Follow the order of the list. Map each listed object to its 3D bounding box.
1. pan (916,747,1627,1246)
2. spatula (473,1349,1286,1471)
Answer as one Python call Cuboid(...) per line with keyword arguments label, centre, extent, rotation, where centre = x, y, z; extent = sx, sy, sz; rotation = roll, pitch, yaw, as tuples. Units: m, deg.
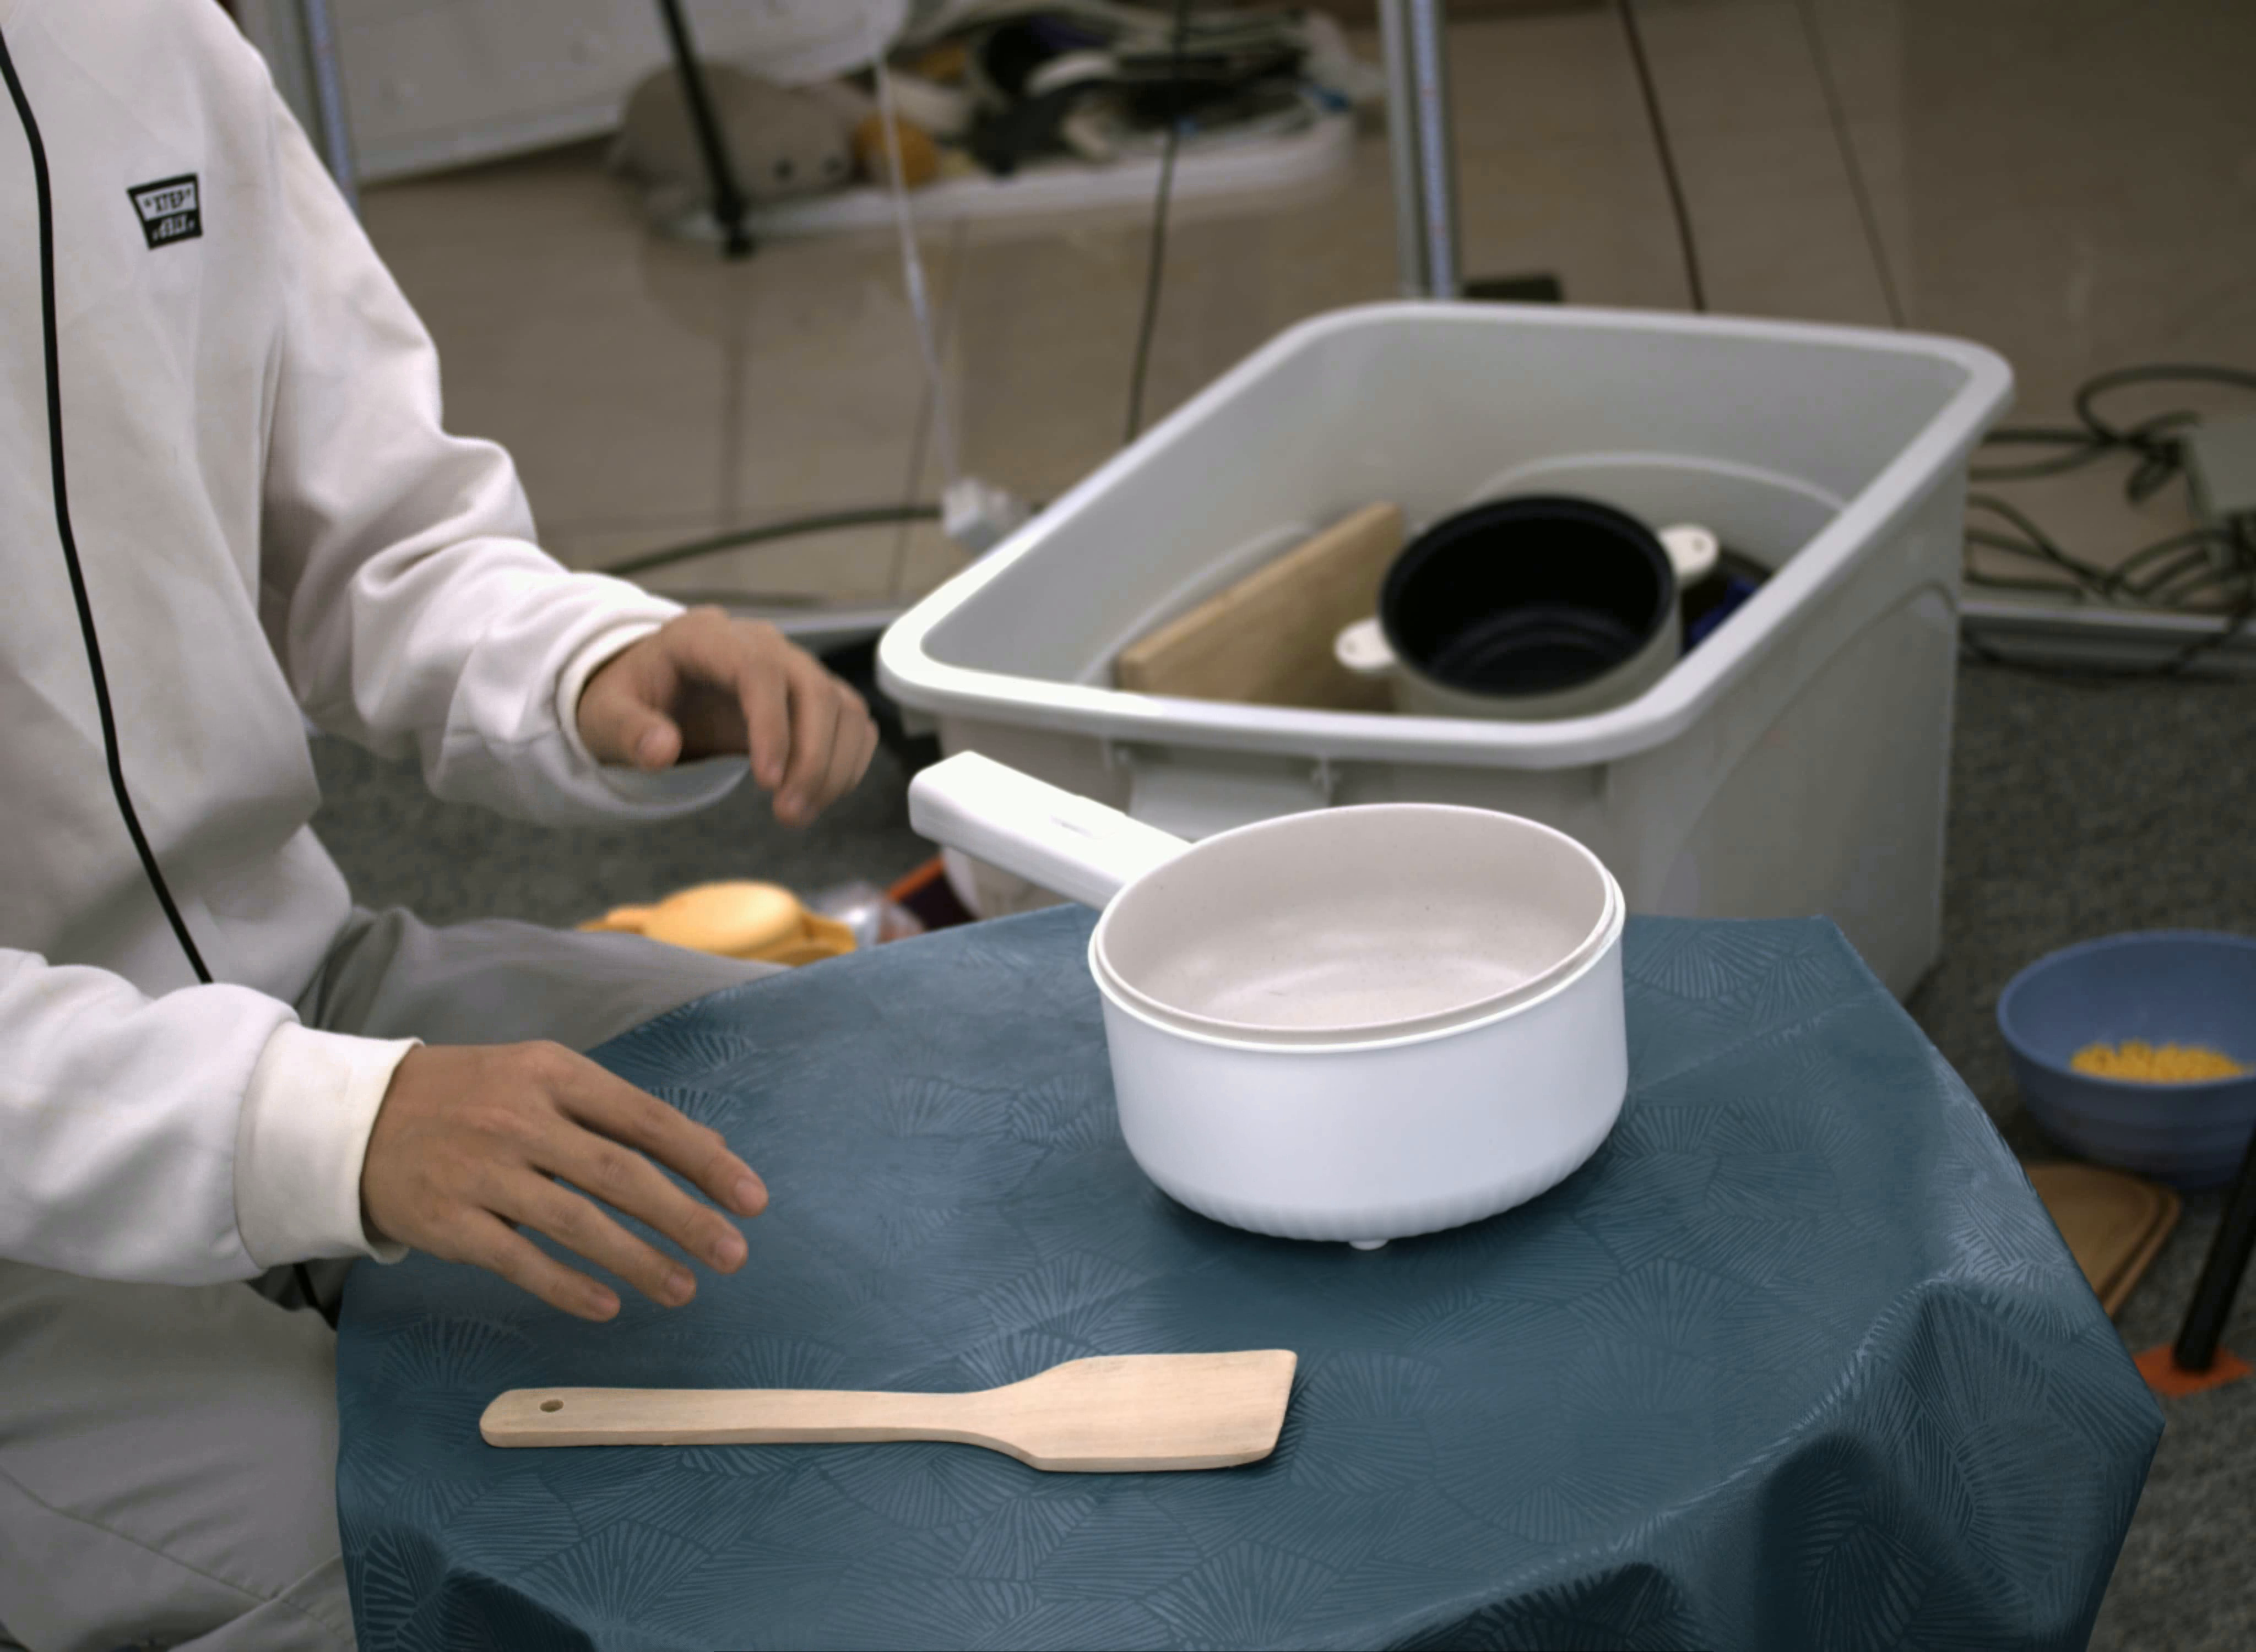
Cuboid(label="pan", centre=(0.041, 0.058, 2.192), extent=(0.200, 0.103, 0.352), rotation=(-24, 29, -33))
Cuboid(label="spatula", centre=(-0.091, 0.208, 2.009), extent=(0.292, 0.011, 0.071), rotation=(-2, 26, 10))
